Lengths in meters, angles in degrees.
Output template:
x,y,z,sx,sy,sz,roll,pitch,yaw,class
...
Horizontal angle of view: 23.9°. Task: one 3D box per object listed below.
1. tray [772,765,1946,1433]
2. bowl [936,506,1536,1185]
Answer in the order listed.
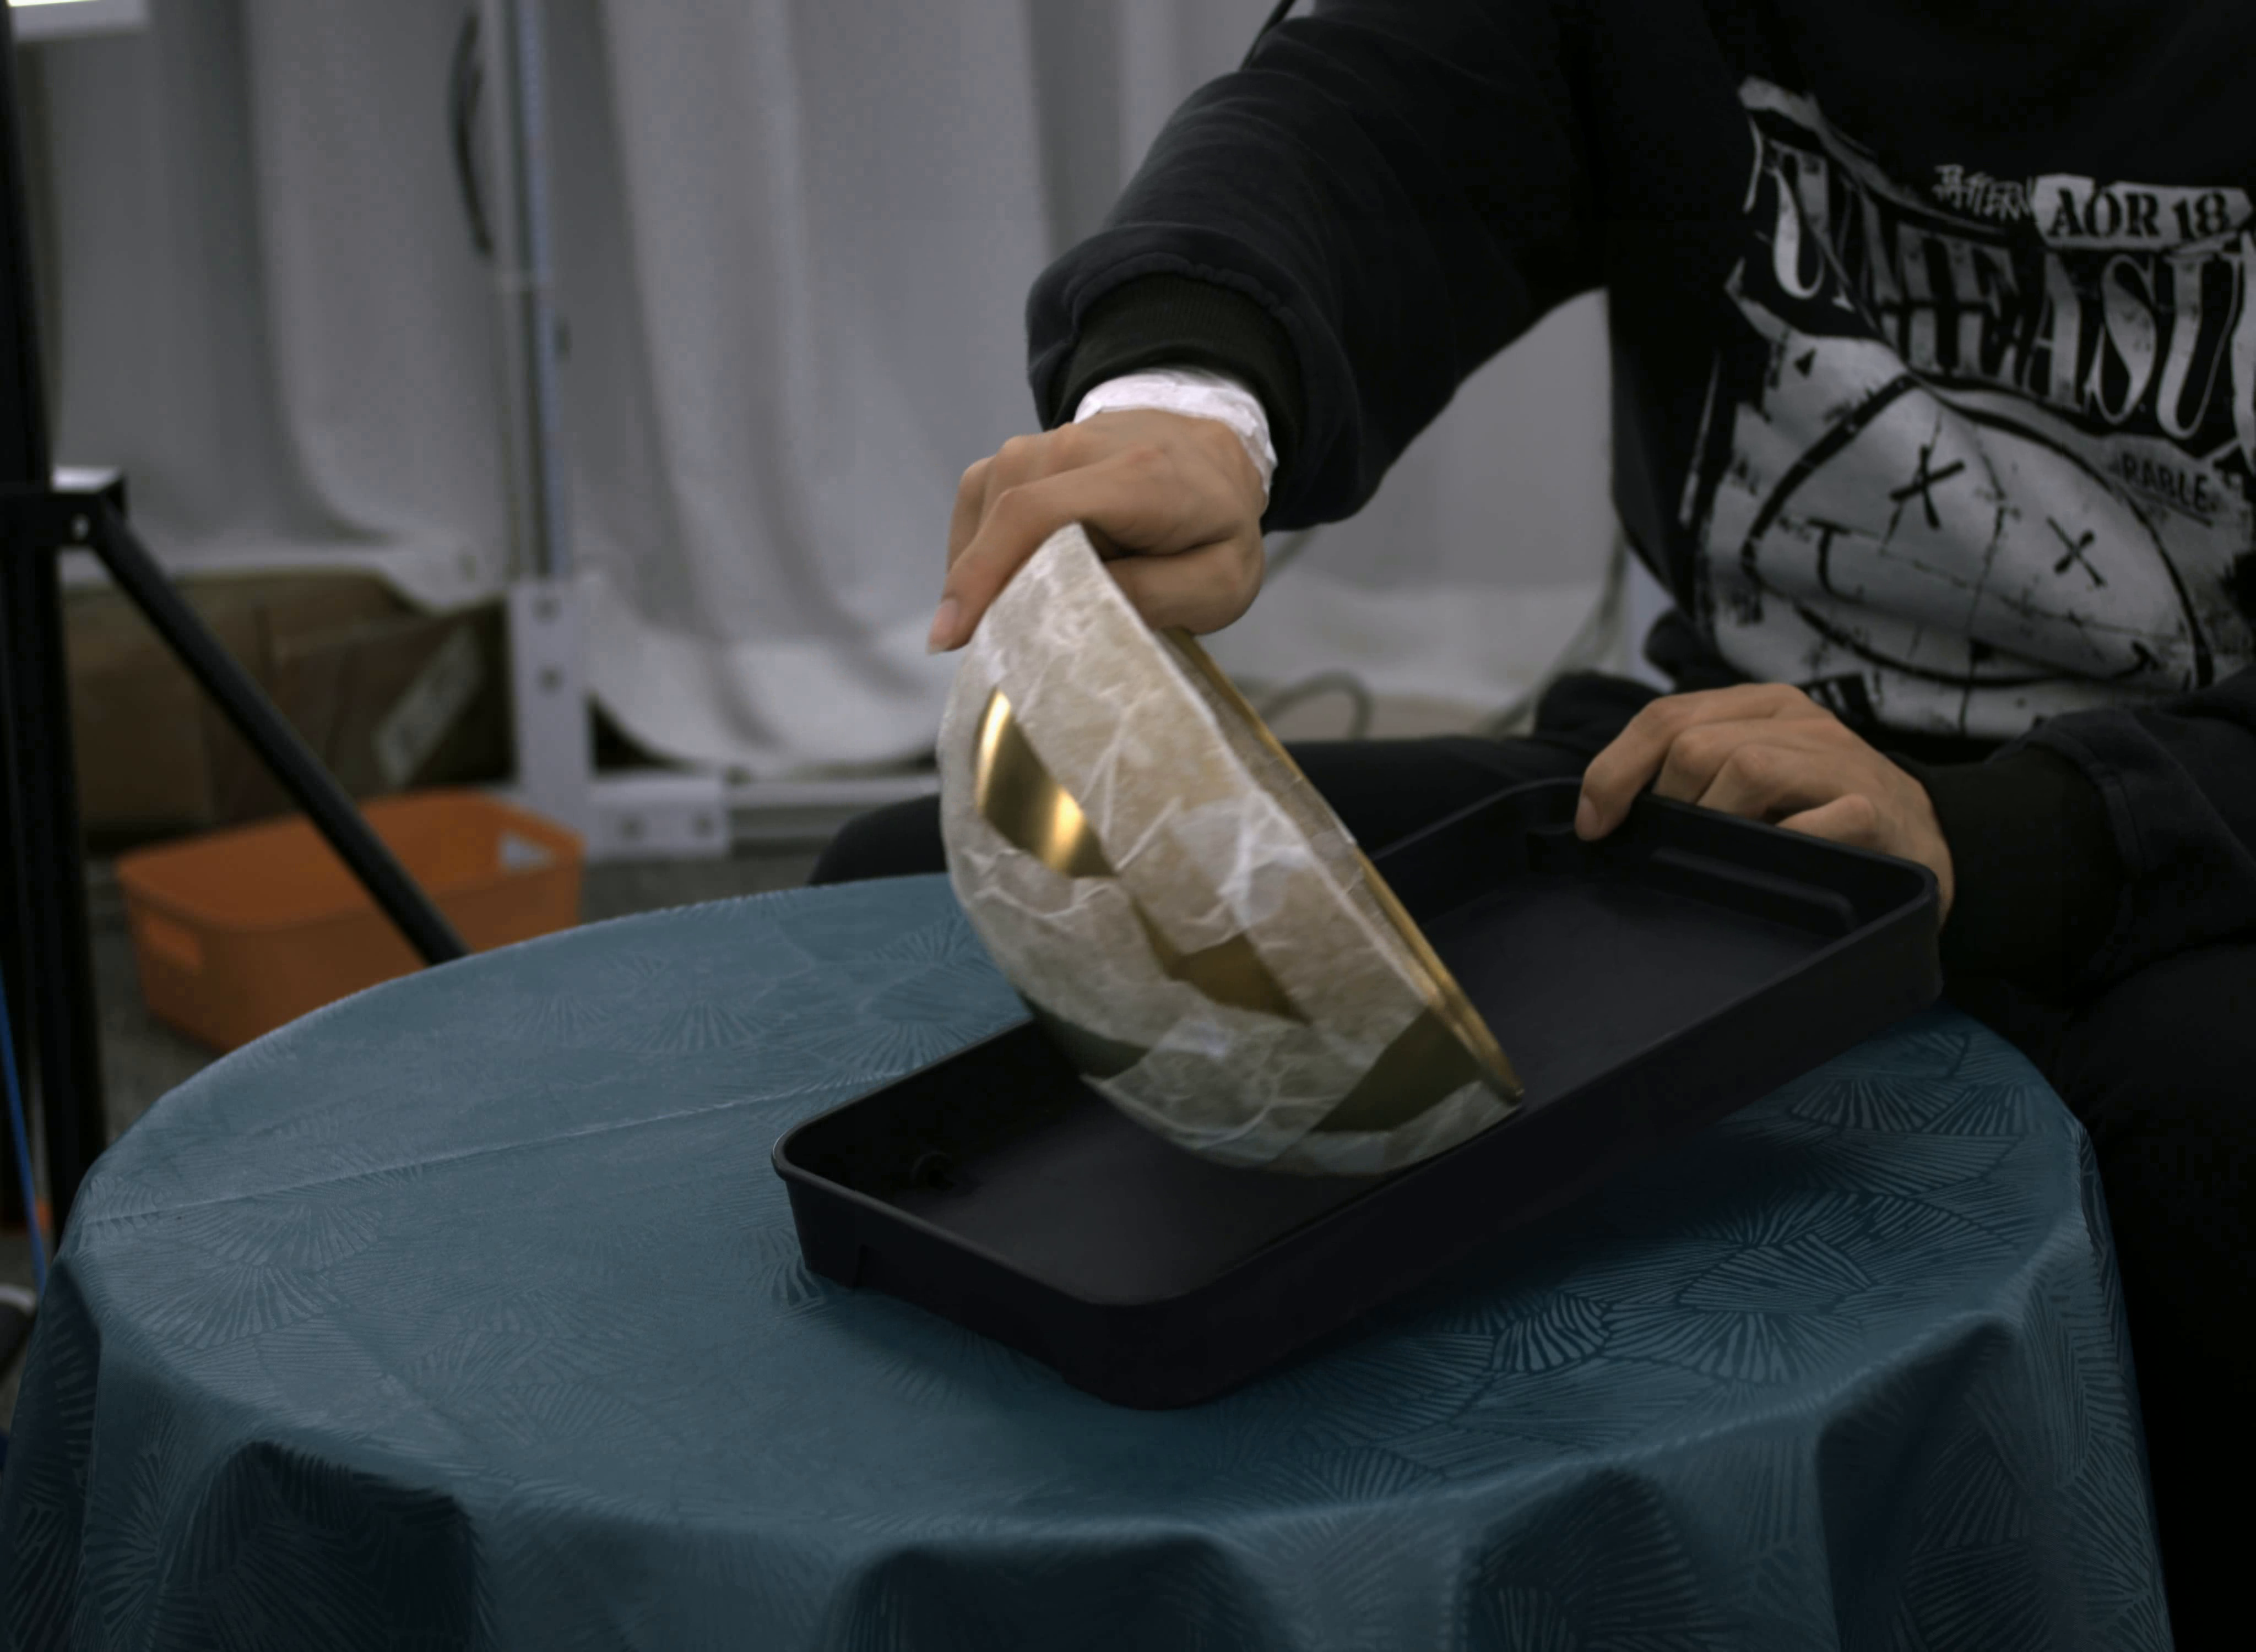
x,y,z,sx,sy,sz,roll,pitch,yaw,class
0.070,0.071,1.526,0.312,0.037,0.188,-25,27,-29,tray
0.014,0.024,1.433,0.095,0.212,0.216,-38,15,5,bowl
